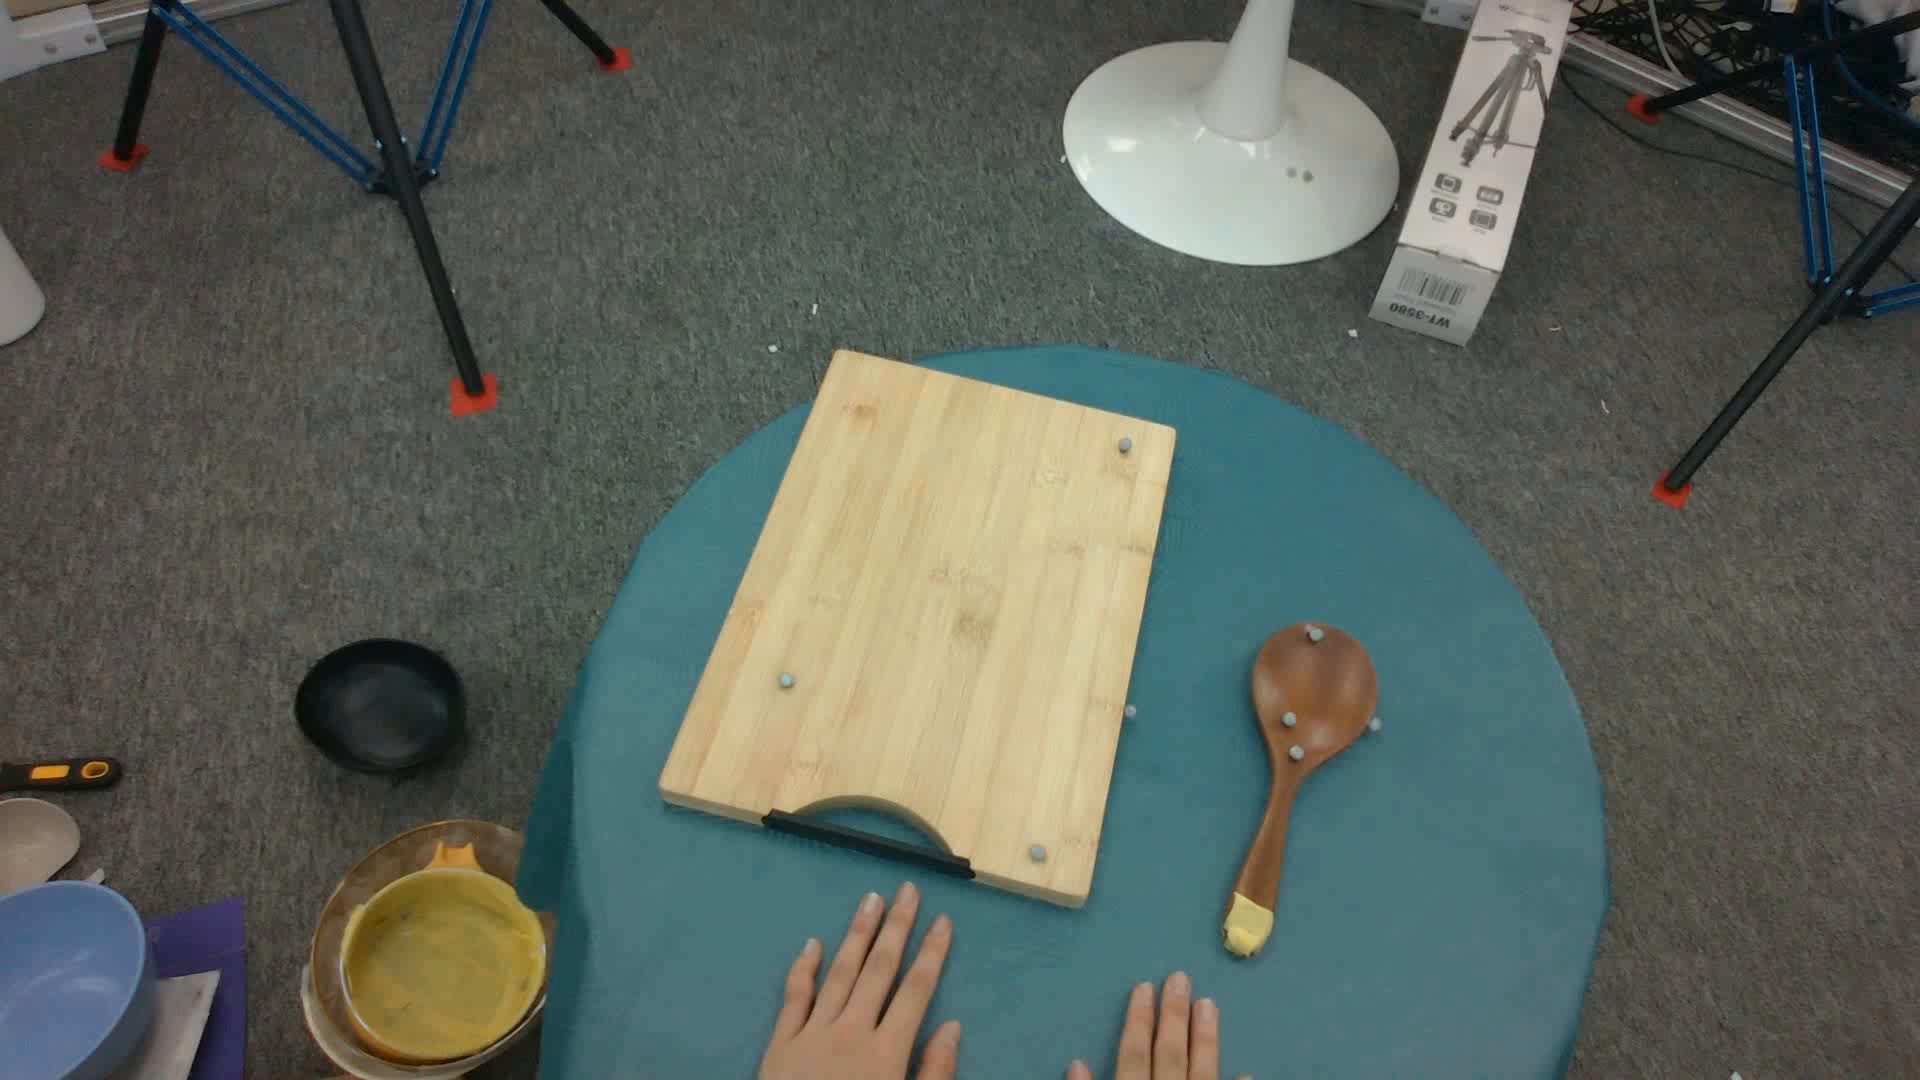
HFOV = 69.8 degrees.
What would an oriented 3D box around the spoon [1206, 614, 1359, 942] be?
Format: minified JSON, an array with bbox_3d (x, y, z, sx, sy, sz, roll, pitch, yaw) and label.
[{"bbox_3d":[0.179,0.131,0.790,0.075,0.017,0.217,21,54,7],"label":"spoon"}]

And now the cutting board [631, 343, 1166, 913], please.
[{"bbox_3d":[-0.020,0.033,0.838,0.250,0.023,0.350,13,54,3],"label":"cutting board"}]
